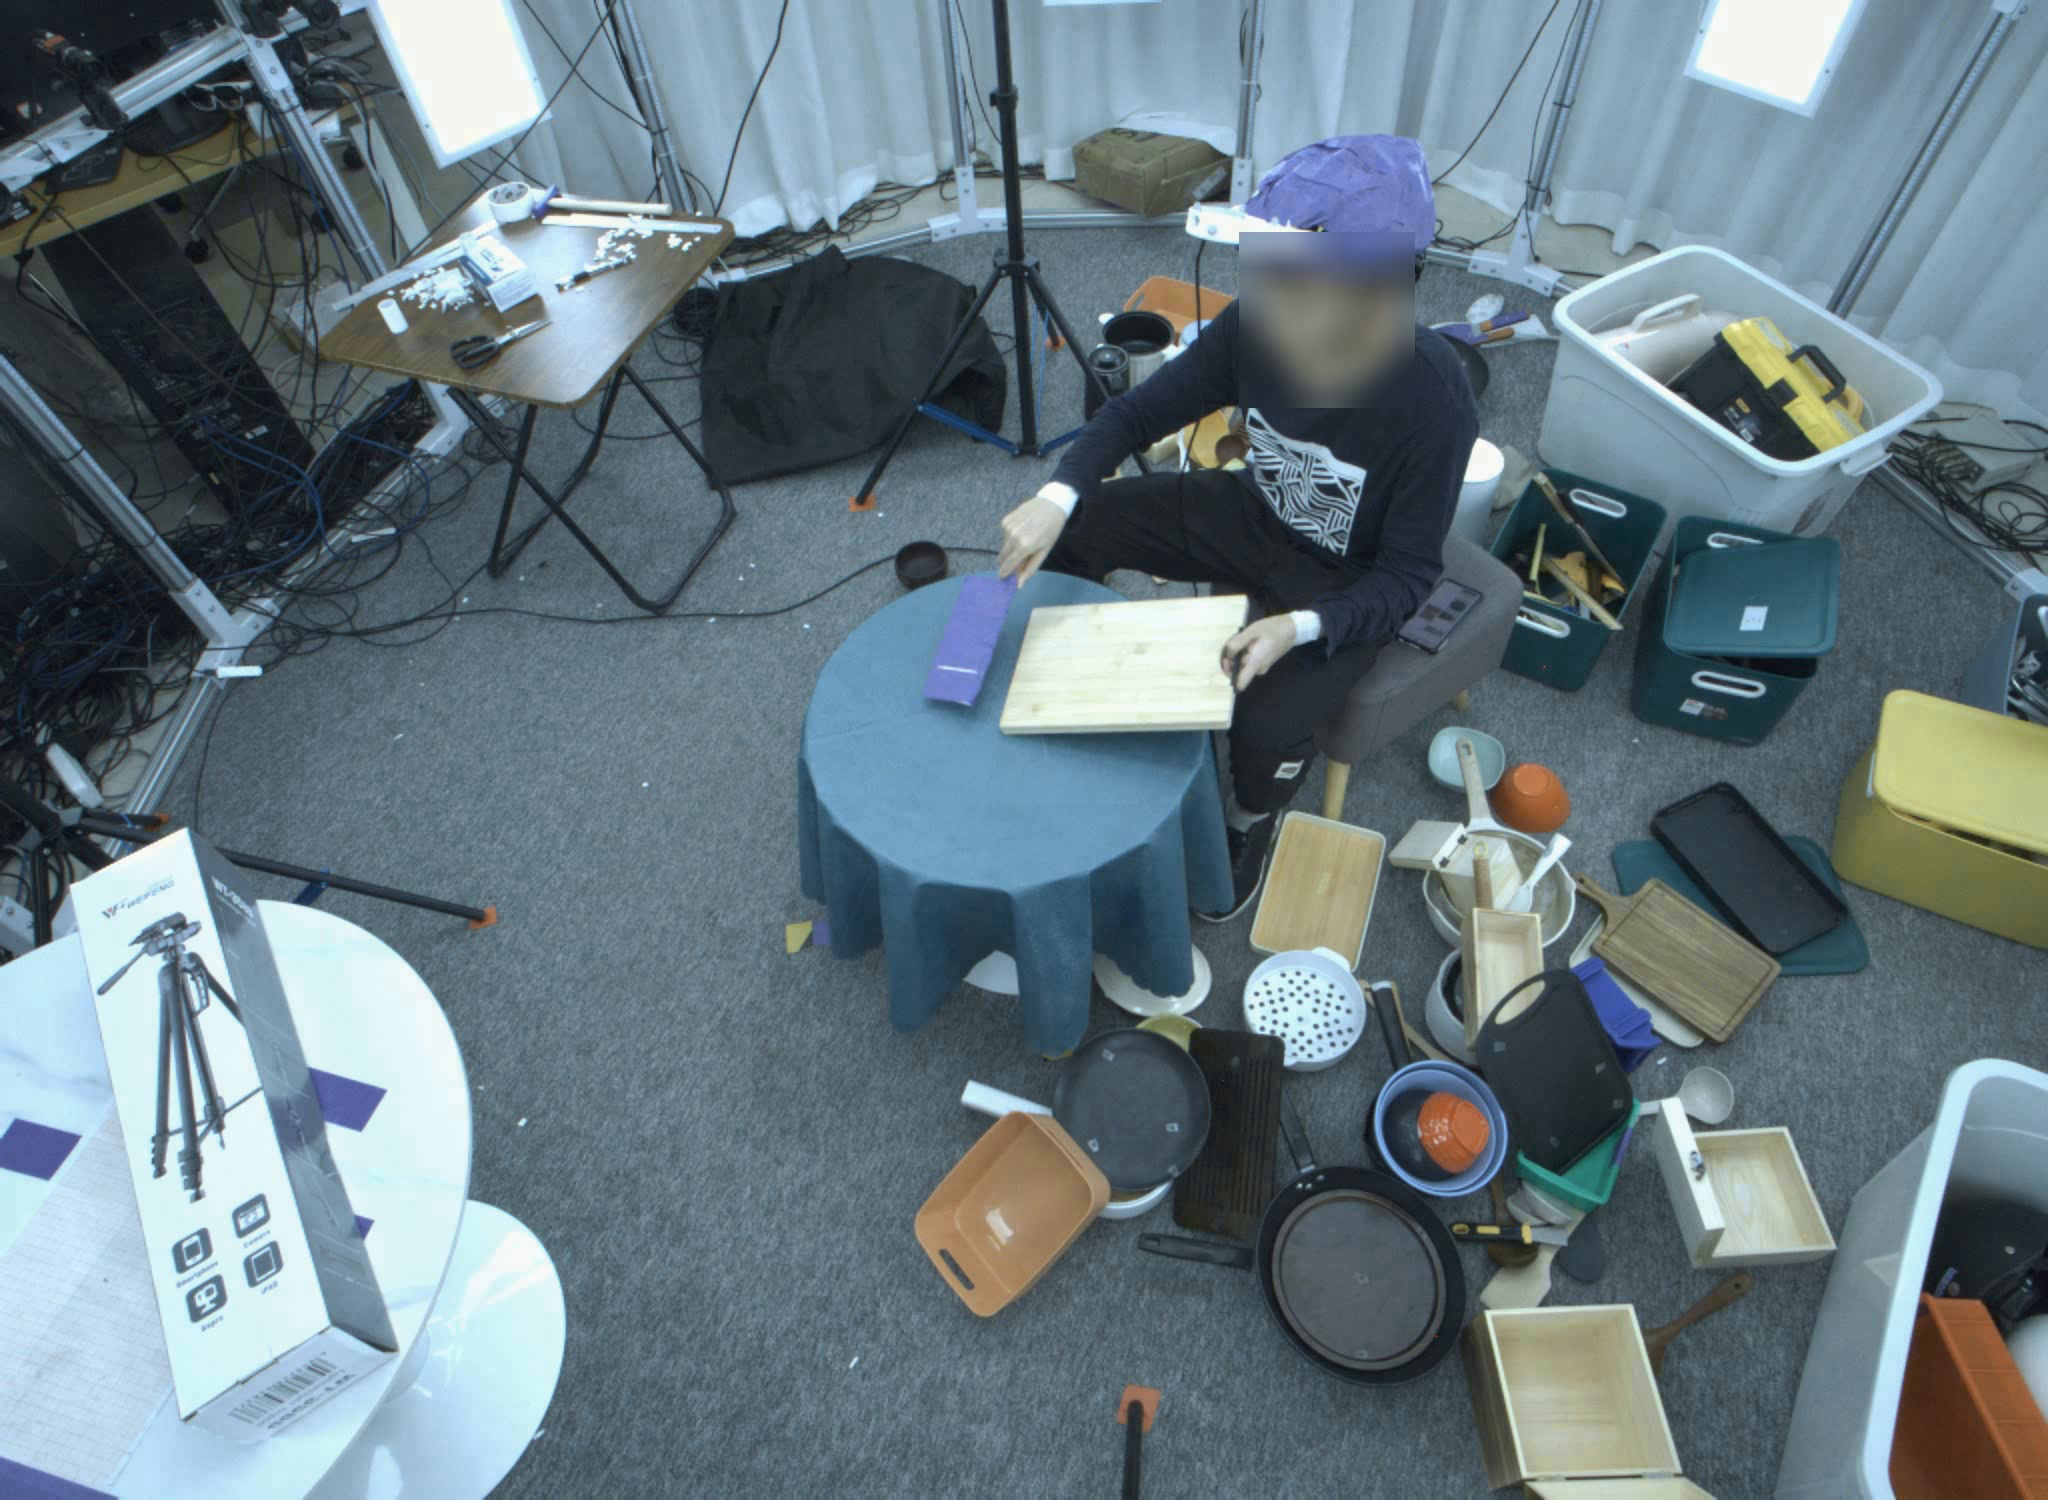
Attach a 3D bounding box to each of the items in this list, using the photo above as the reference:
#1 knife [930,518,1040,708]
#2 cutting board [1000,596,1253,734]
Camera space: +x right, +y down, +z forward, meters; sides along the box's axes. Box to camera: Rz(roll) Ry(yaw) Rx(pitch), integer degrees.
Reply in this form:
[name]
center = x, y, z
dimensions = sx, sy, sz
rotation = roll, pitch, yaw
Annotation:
[knife]
center = -0.063, -0.214, 1.849
dimensions = 0.102, 0.033, 0.314
rotation = 13, 73, 21
[cutting board]
center = 0.153, -0.126, 1.816
dimensions = 0.344, 0.024, 0.249
rotation = -1, 53, 19
